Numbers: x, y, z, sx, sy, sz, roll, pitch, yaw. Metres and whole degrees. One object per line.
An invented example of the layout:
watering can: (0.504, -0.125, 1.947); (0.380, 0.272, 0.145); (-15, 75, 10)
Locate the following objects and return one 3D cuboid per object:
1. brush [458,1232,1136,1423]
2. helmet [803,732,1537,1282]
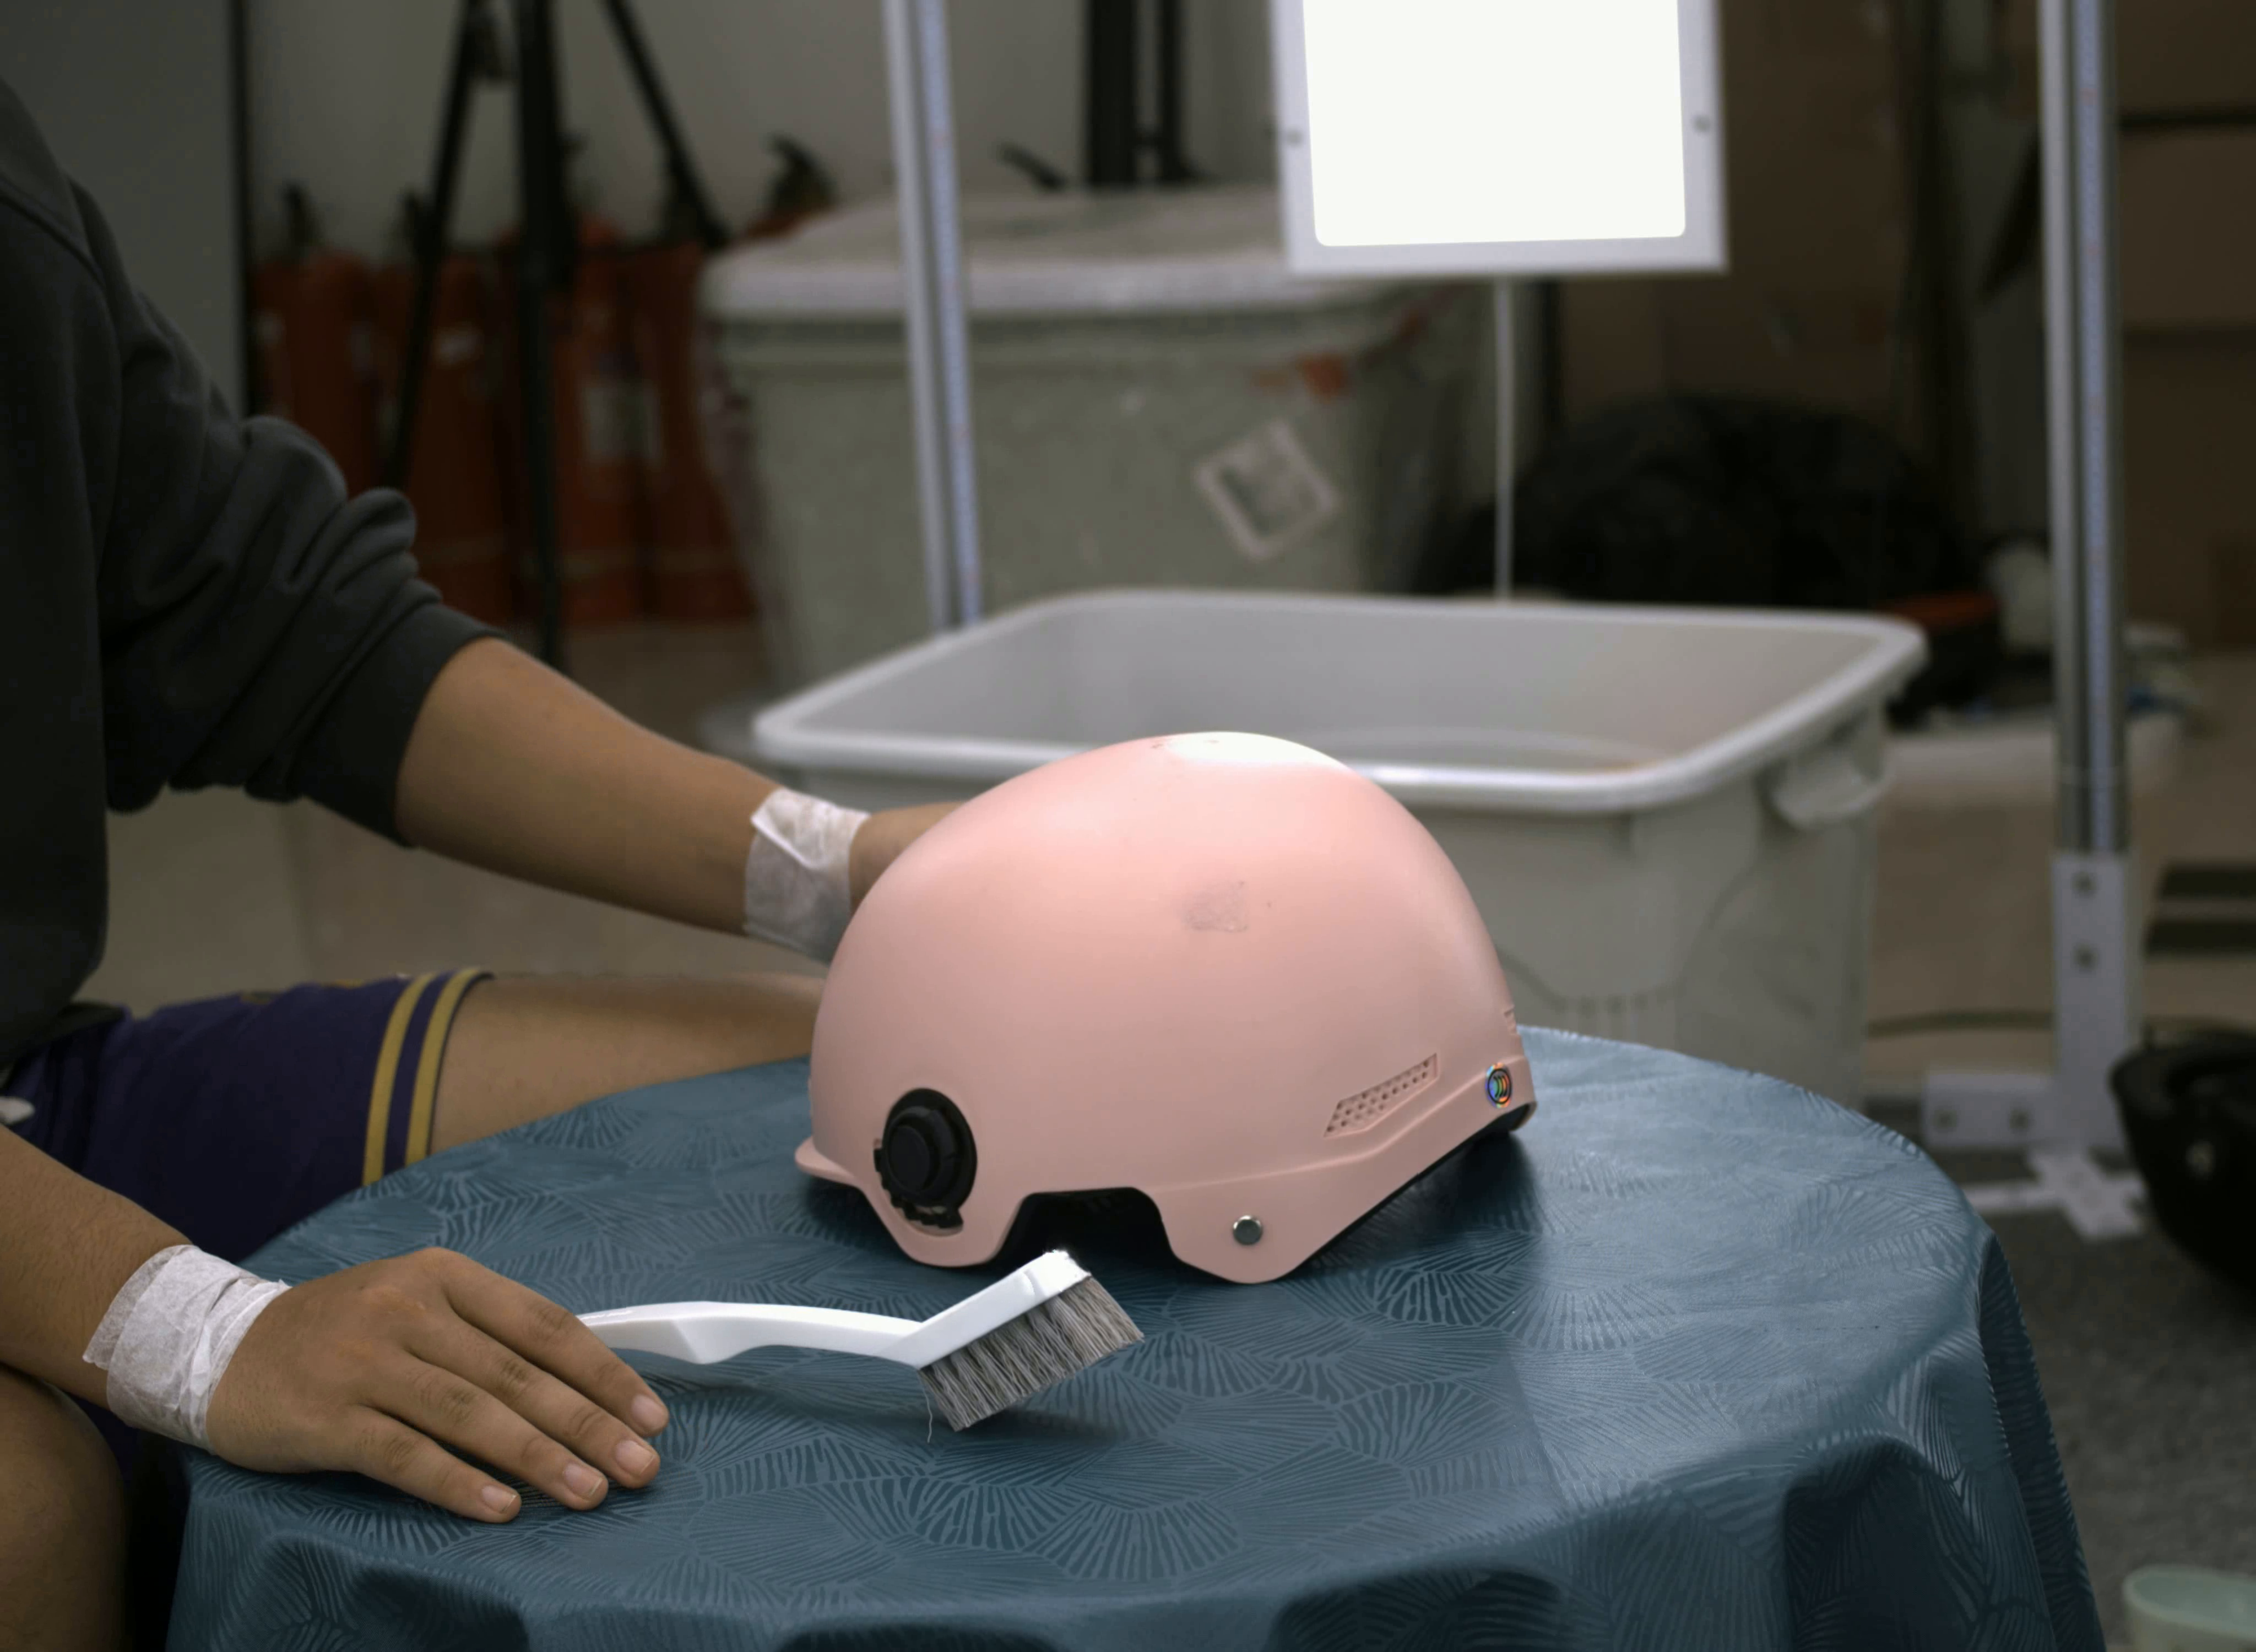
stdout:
brush: (-0.106, 0.169, 1.717); (0.248, 0.050, 0.033); (-13, 3, 32)
helmet: (0.004, 0.050, 1.891); (0.271, 0.159, 0.228); (-1, 15, 33)
